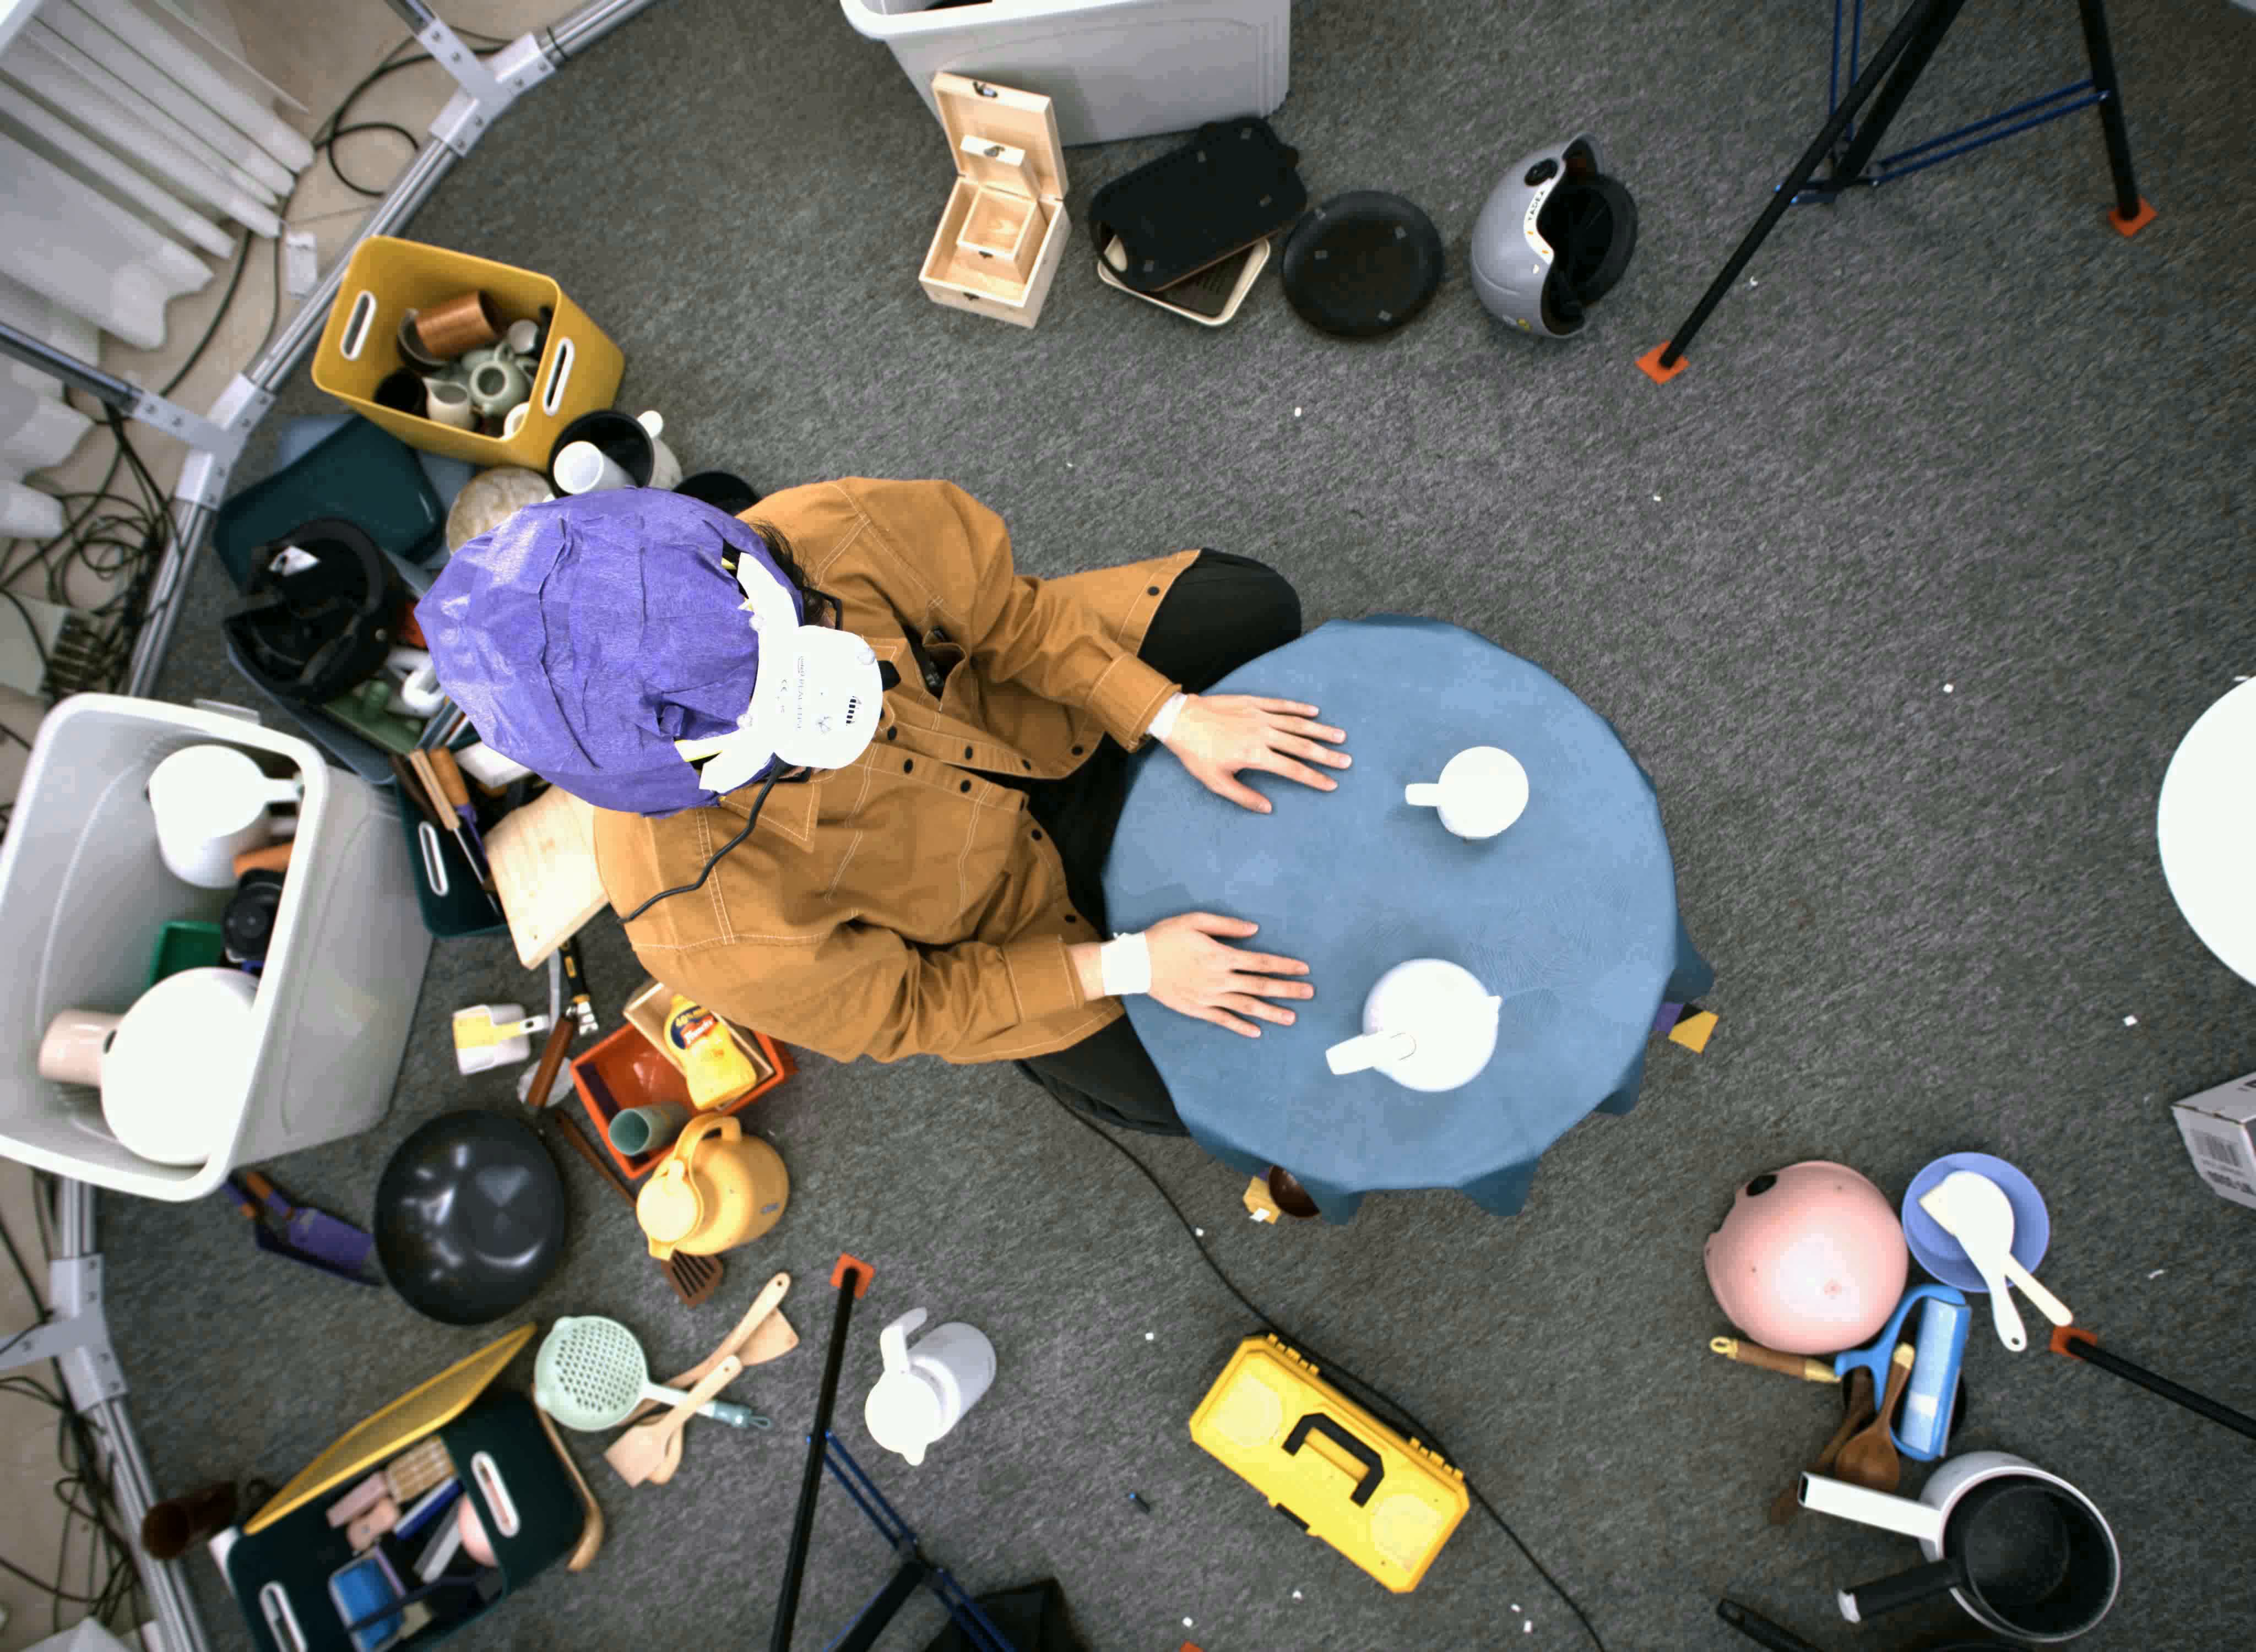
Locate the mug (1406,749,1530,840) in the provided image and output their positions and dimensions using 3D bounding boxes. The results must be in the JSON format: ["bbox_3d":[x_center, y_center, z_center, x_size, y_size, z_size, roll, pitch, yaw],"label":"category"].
[{"bbox_3d":[0.343,-0.032,1.398,0.119,0.102,0.084,0,86,9],"label":"mug"}]

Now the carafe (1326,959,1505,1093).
[{"bbox_3d":[0.273,0.199,1.328,0.169,0.248,0.131,-22,82,8],"label":"carafe"}]
